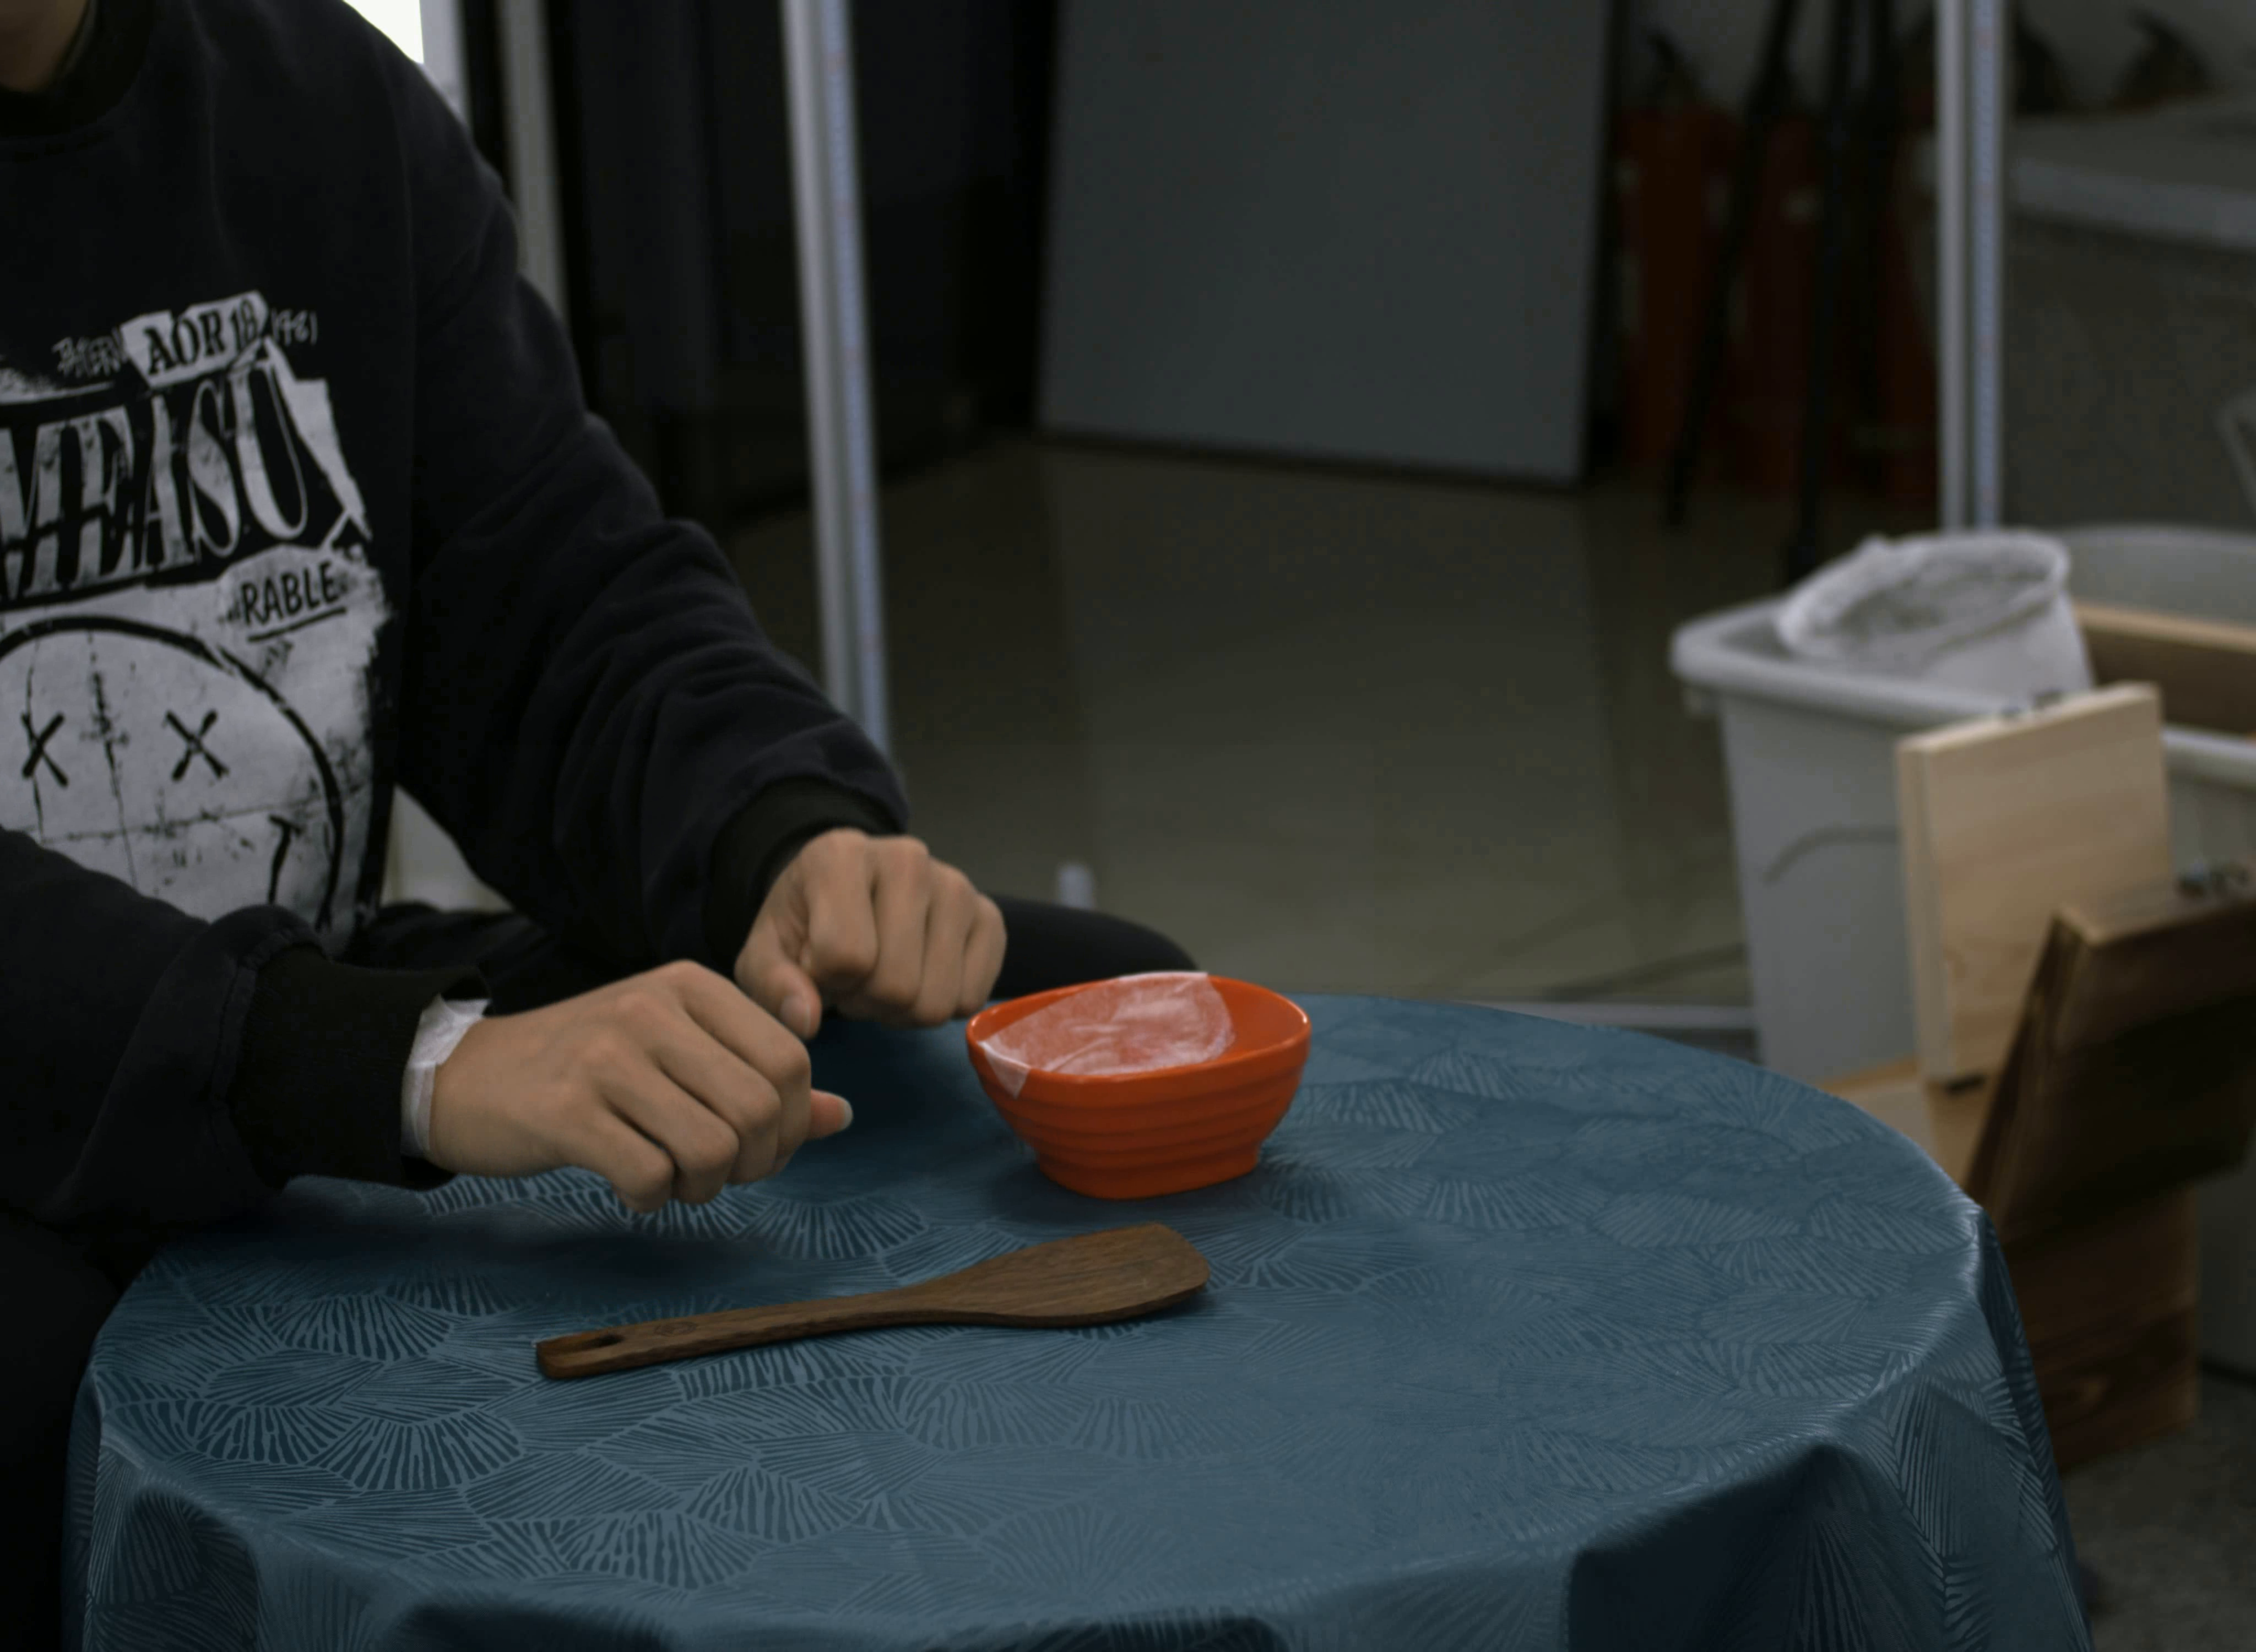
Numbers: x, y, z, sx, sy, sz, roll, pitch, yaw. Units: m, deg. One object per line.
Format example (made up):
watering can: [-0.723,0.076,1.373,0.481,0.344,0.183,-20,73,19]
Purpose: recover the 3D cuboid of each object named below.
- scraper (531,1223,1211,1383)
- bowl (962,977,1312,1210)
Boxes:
scraper: [-0.079,0.150,1.660,0.207,0.011,0.076,-8,14,-12]
bowl: [0.004,0.091,1.791,0.117,0.052,0.119,-4,15,0]
